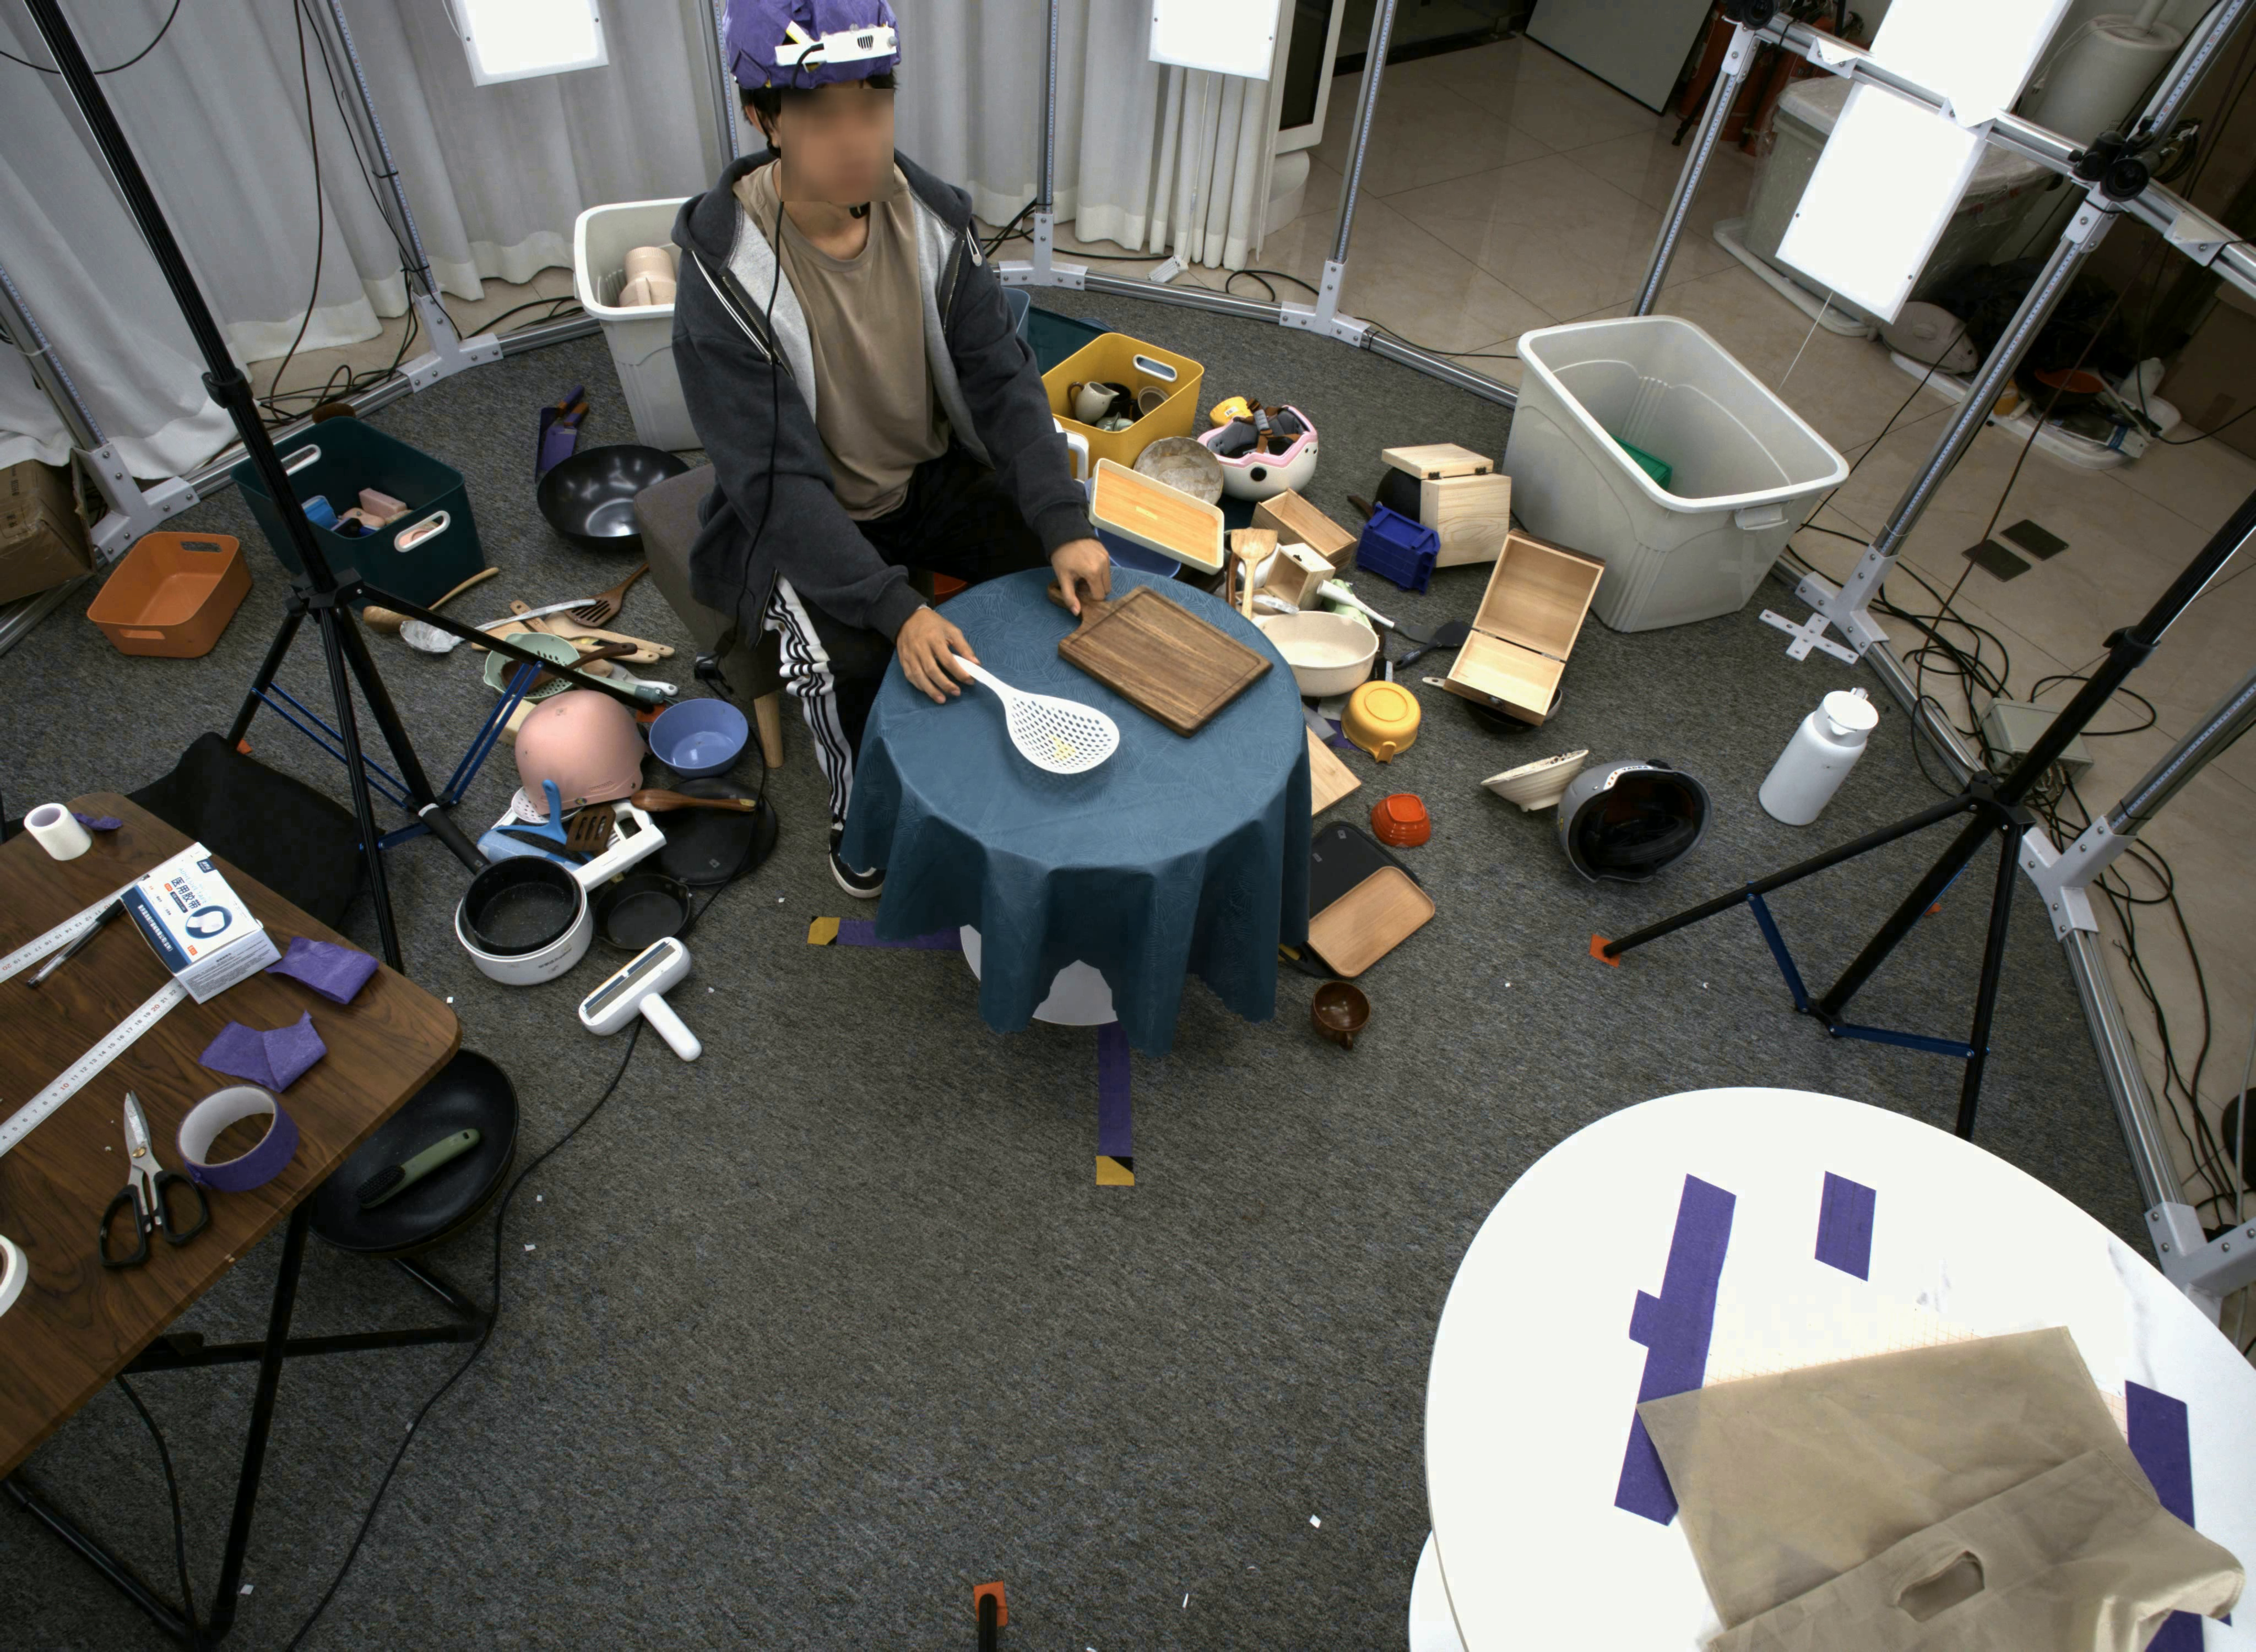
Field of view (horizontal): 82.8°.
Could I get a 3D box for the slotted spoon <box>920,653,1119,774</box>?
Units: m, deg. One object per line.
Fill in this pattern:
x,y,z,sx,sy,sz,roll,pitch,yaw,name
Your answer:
-0.162,-0.170,1.776,0.353,0.049,0.138,37,57,25,slotted spoon

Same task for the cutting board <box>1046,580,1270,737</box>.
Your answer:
0.016,-0.273,1.891,0.357,0.022,0.203,35,55,24,cutting board
